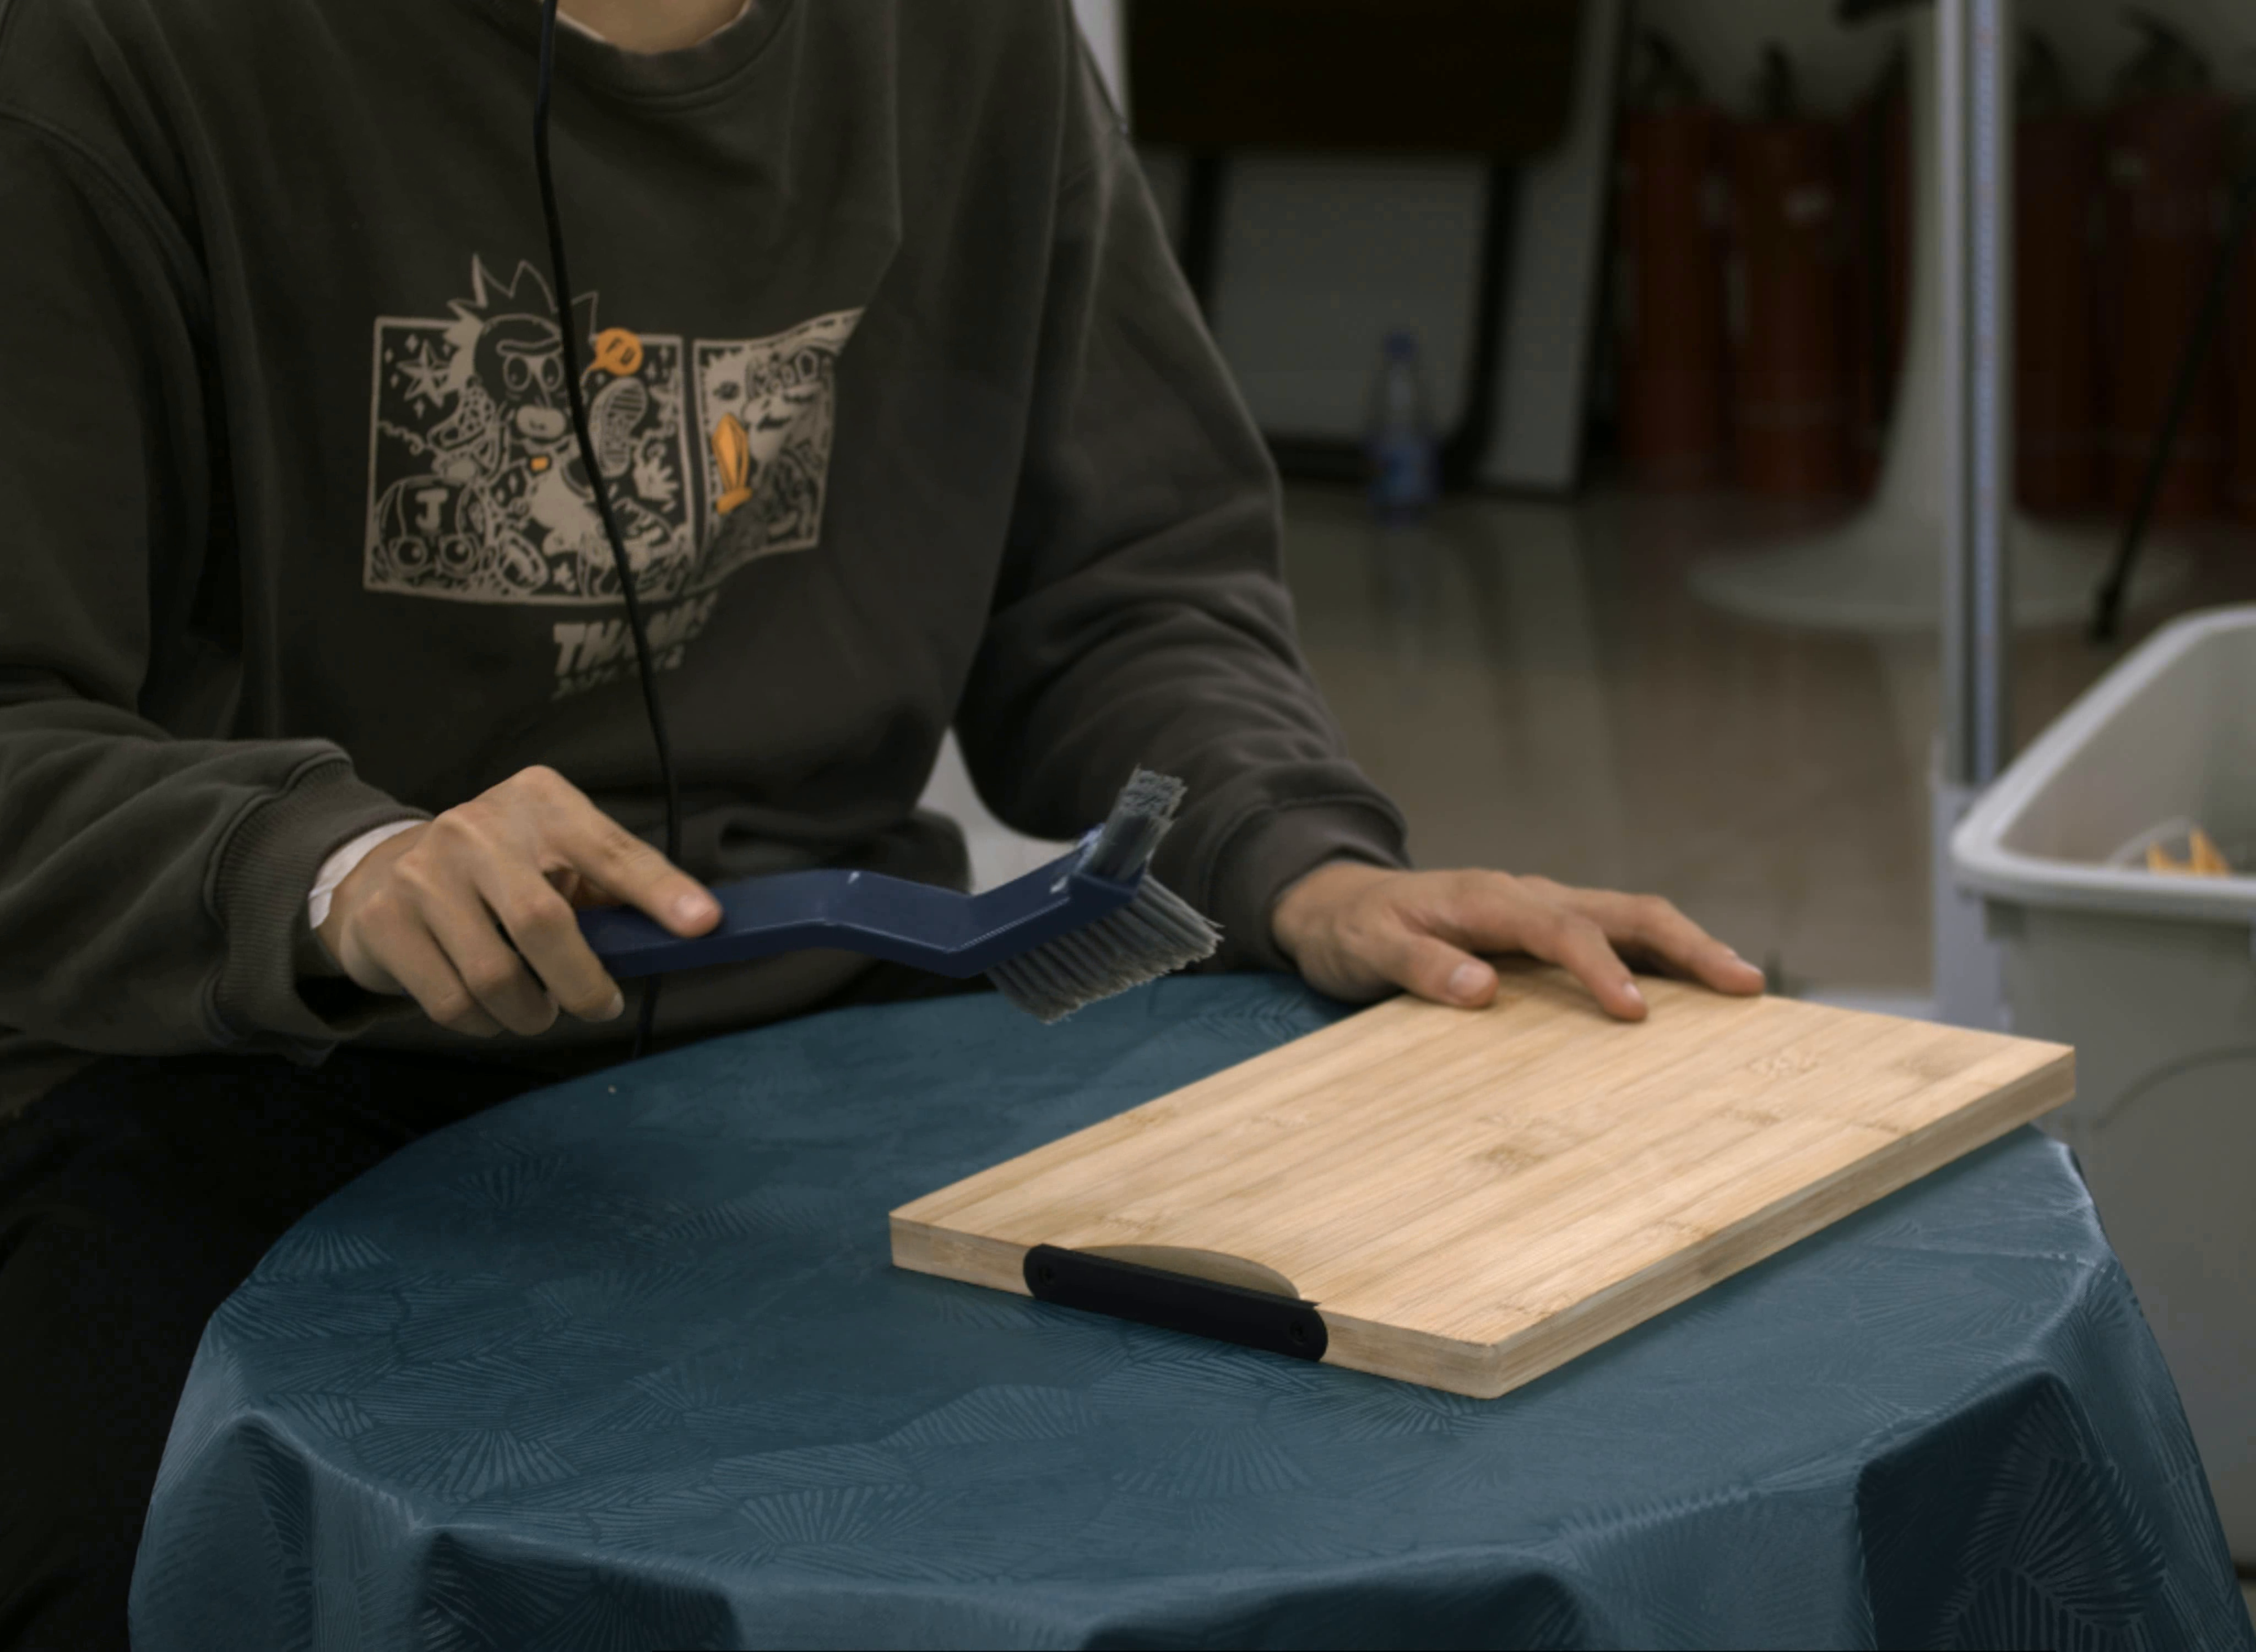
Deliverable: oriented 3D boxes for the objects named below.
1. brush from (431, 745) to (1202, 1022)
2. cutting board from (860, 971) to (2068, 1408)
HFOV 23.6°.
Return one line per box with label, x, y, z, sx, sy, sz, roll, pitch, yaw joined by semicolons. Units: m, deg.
brush;-0.103;0.021;1.631;0.273;0.095;0.033;-3;42;26
cutting board;0.117;0.111;1.751;0.252;0.024;0.342;6;17;39
